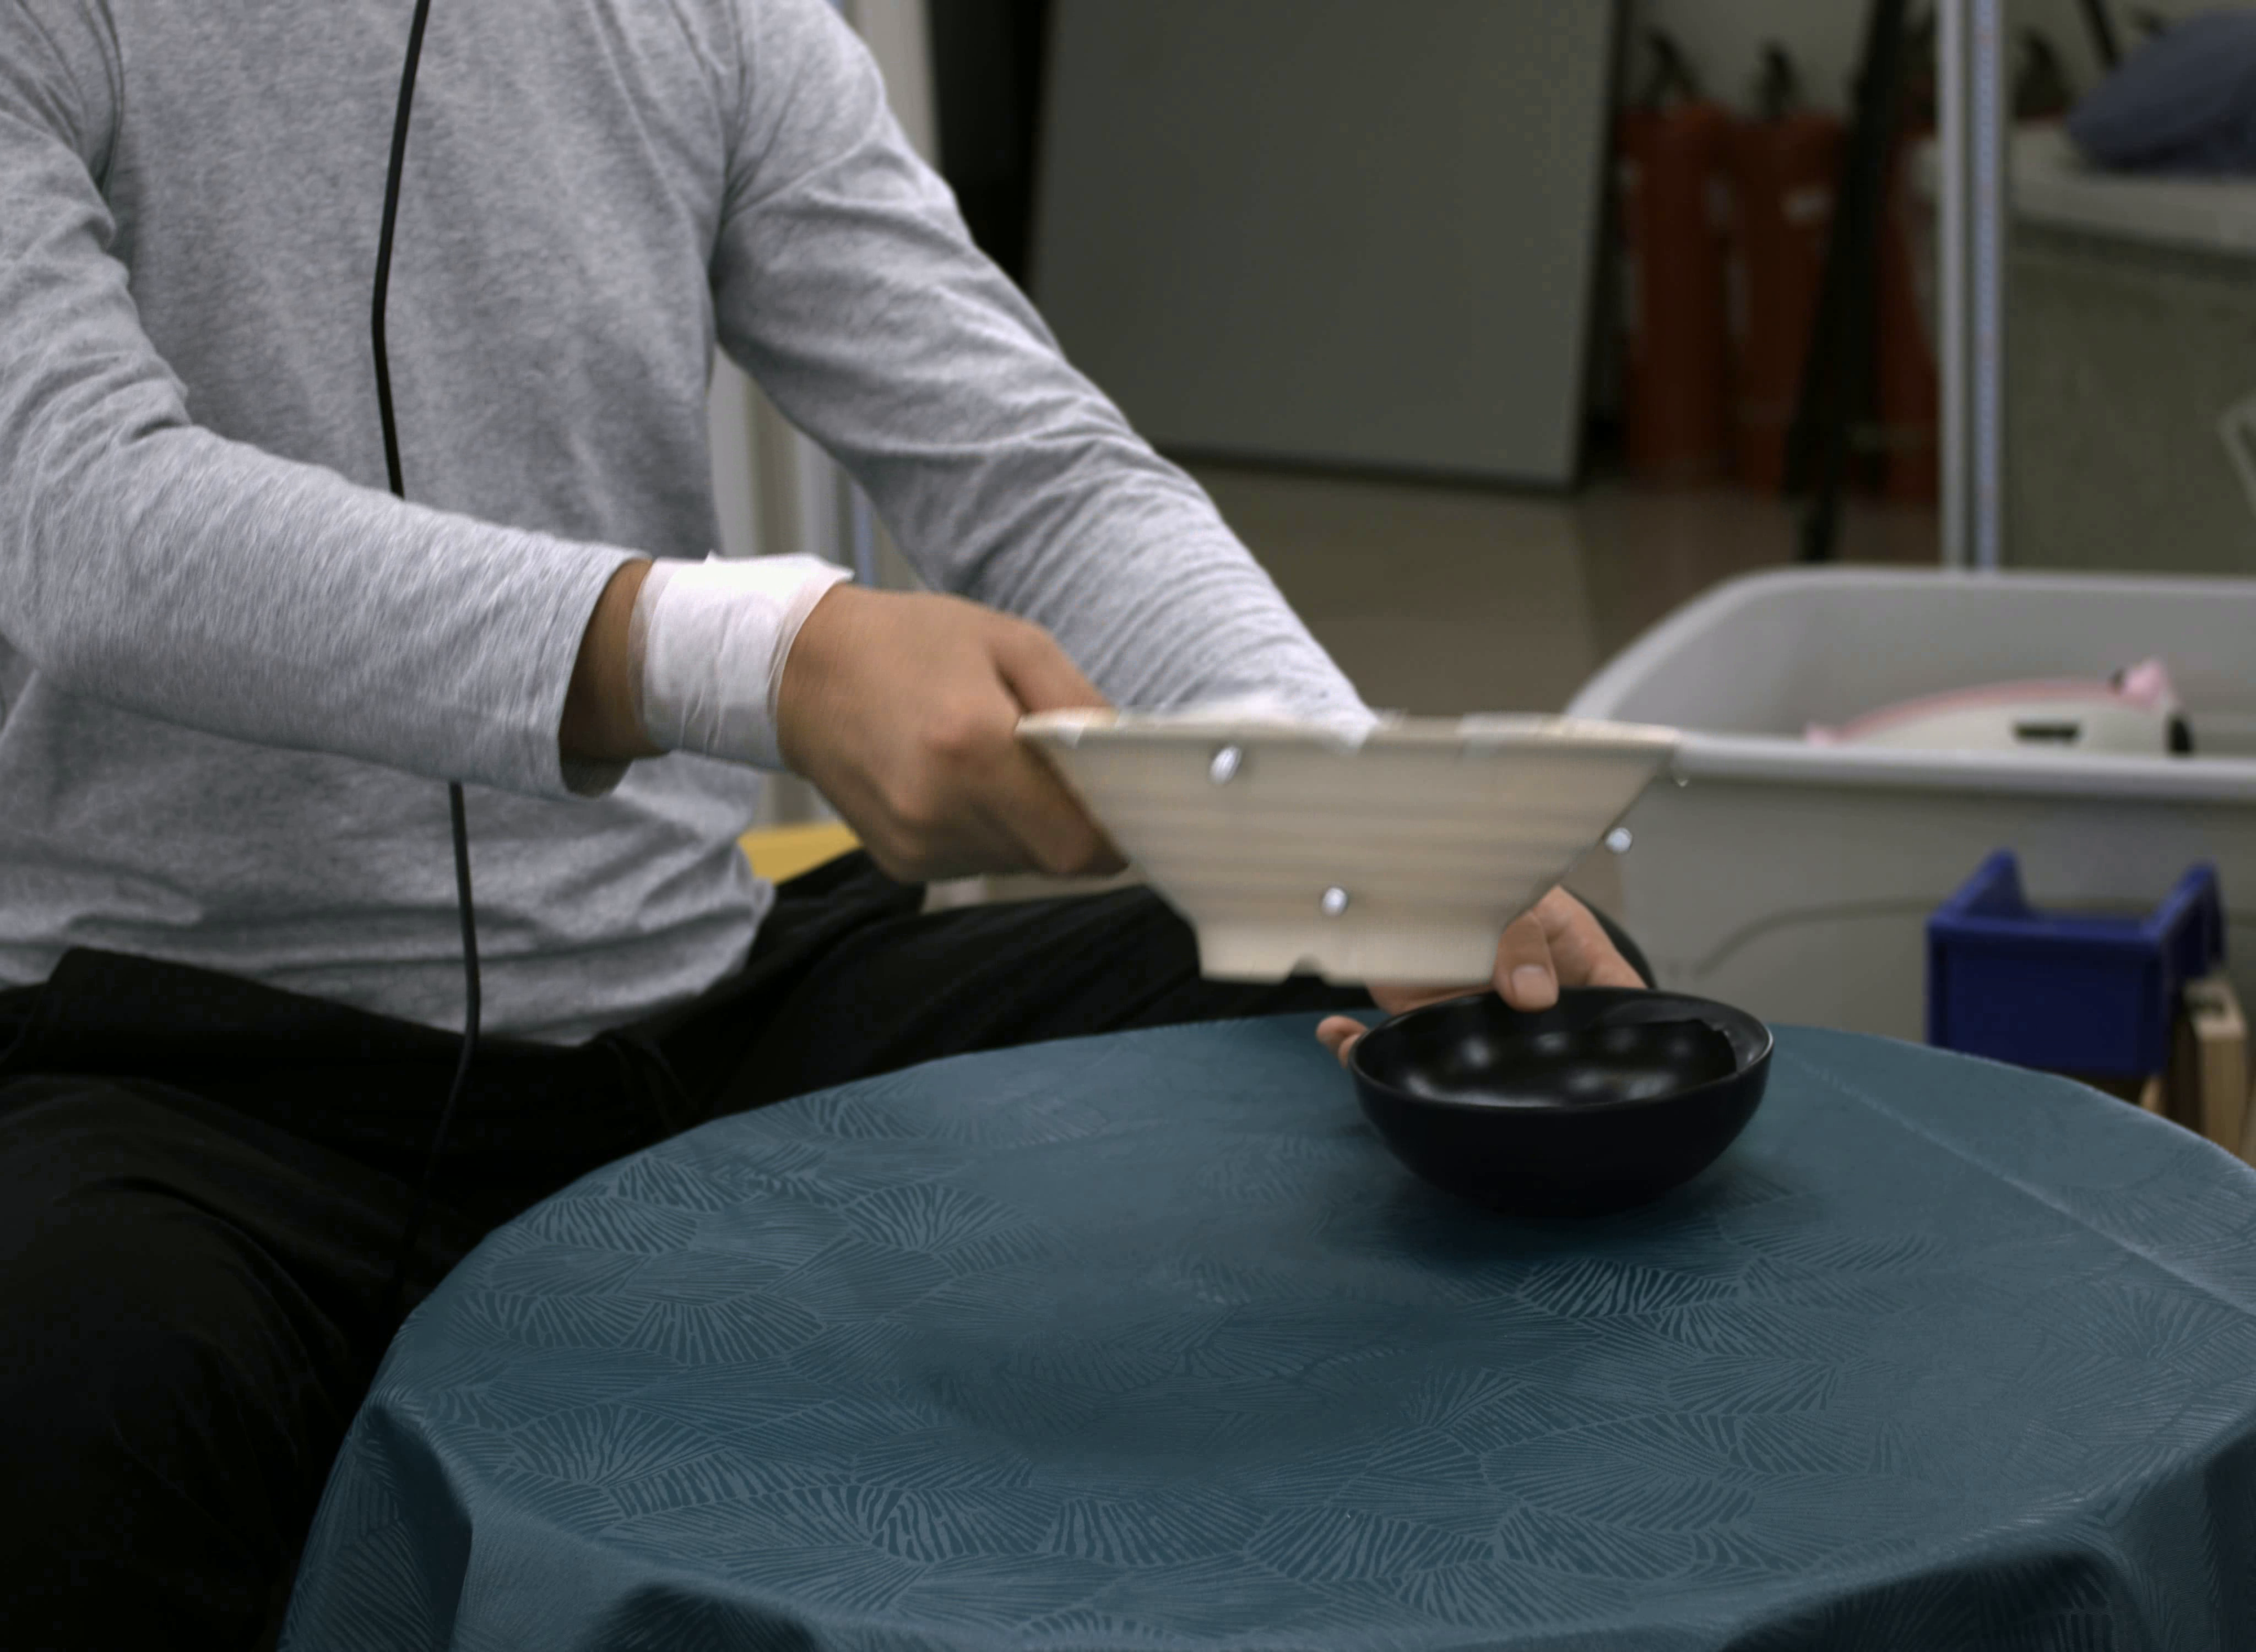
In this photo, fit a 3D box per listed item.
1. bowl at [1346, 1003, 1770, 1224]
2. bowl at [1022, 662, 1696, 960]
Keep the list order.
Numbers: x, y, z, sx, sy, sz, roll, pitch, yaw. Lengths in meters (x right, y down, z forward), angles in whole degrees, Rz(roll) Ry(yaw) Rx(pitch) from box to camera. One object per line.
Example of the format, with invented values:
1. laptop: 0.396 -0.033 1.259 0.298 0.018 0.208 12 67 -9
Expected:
1. bowl: 0.141 0.096 1.742 0.138 0.050 0.140 -5 9 0
2. bowl: 0.067 -0.001 1.605 0.201 0.079 0.204 2 -3 -1
